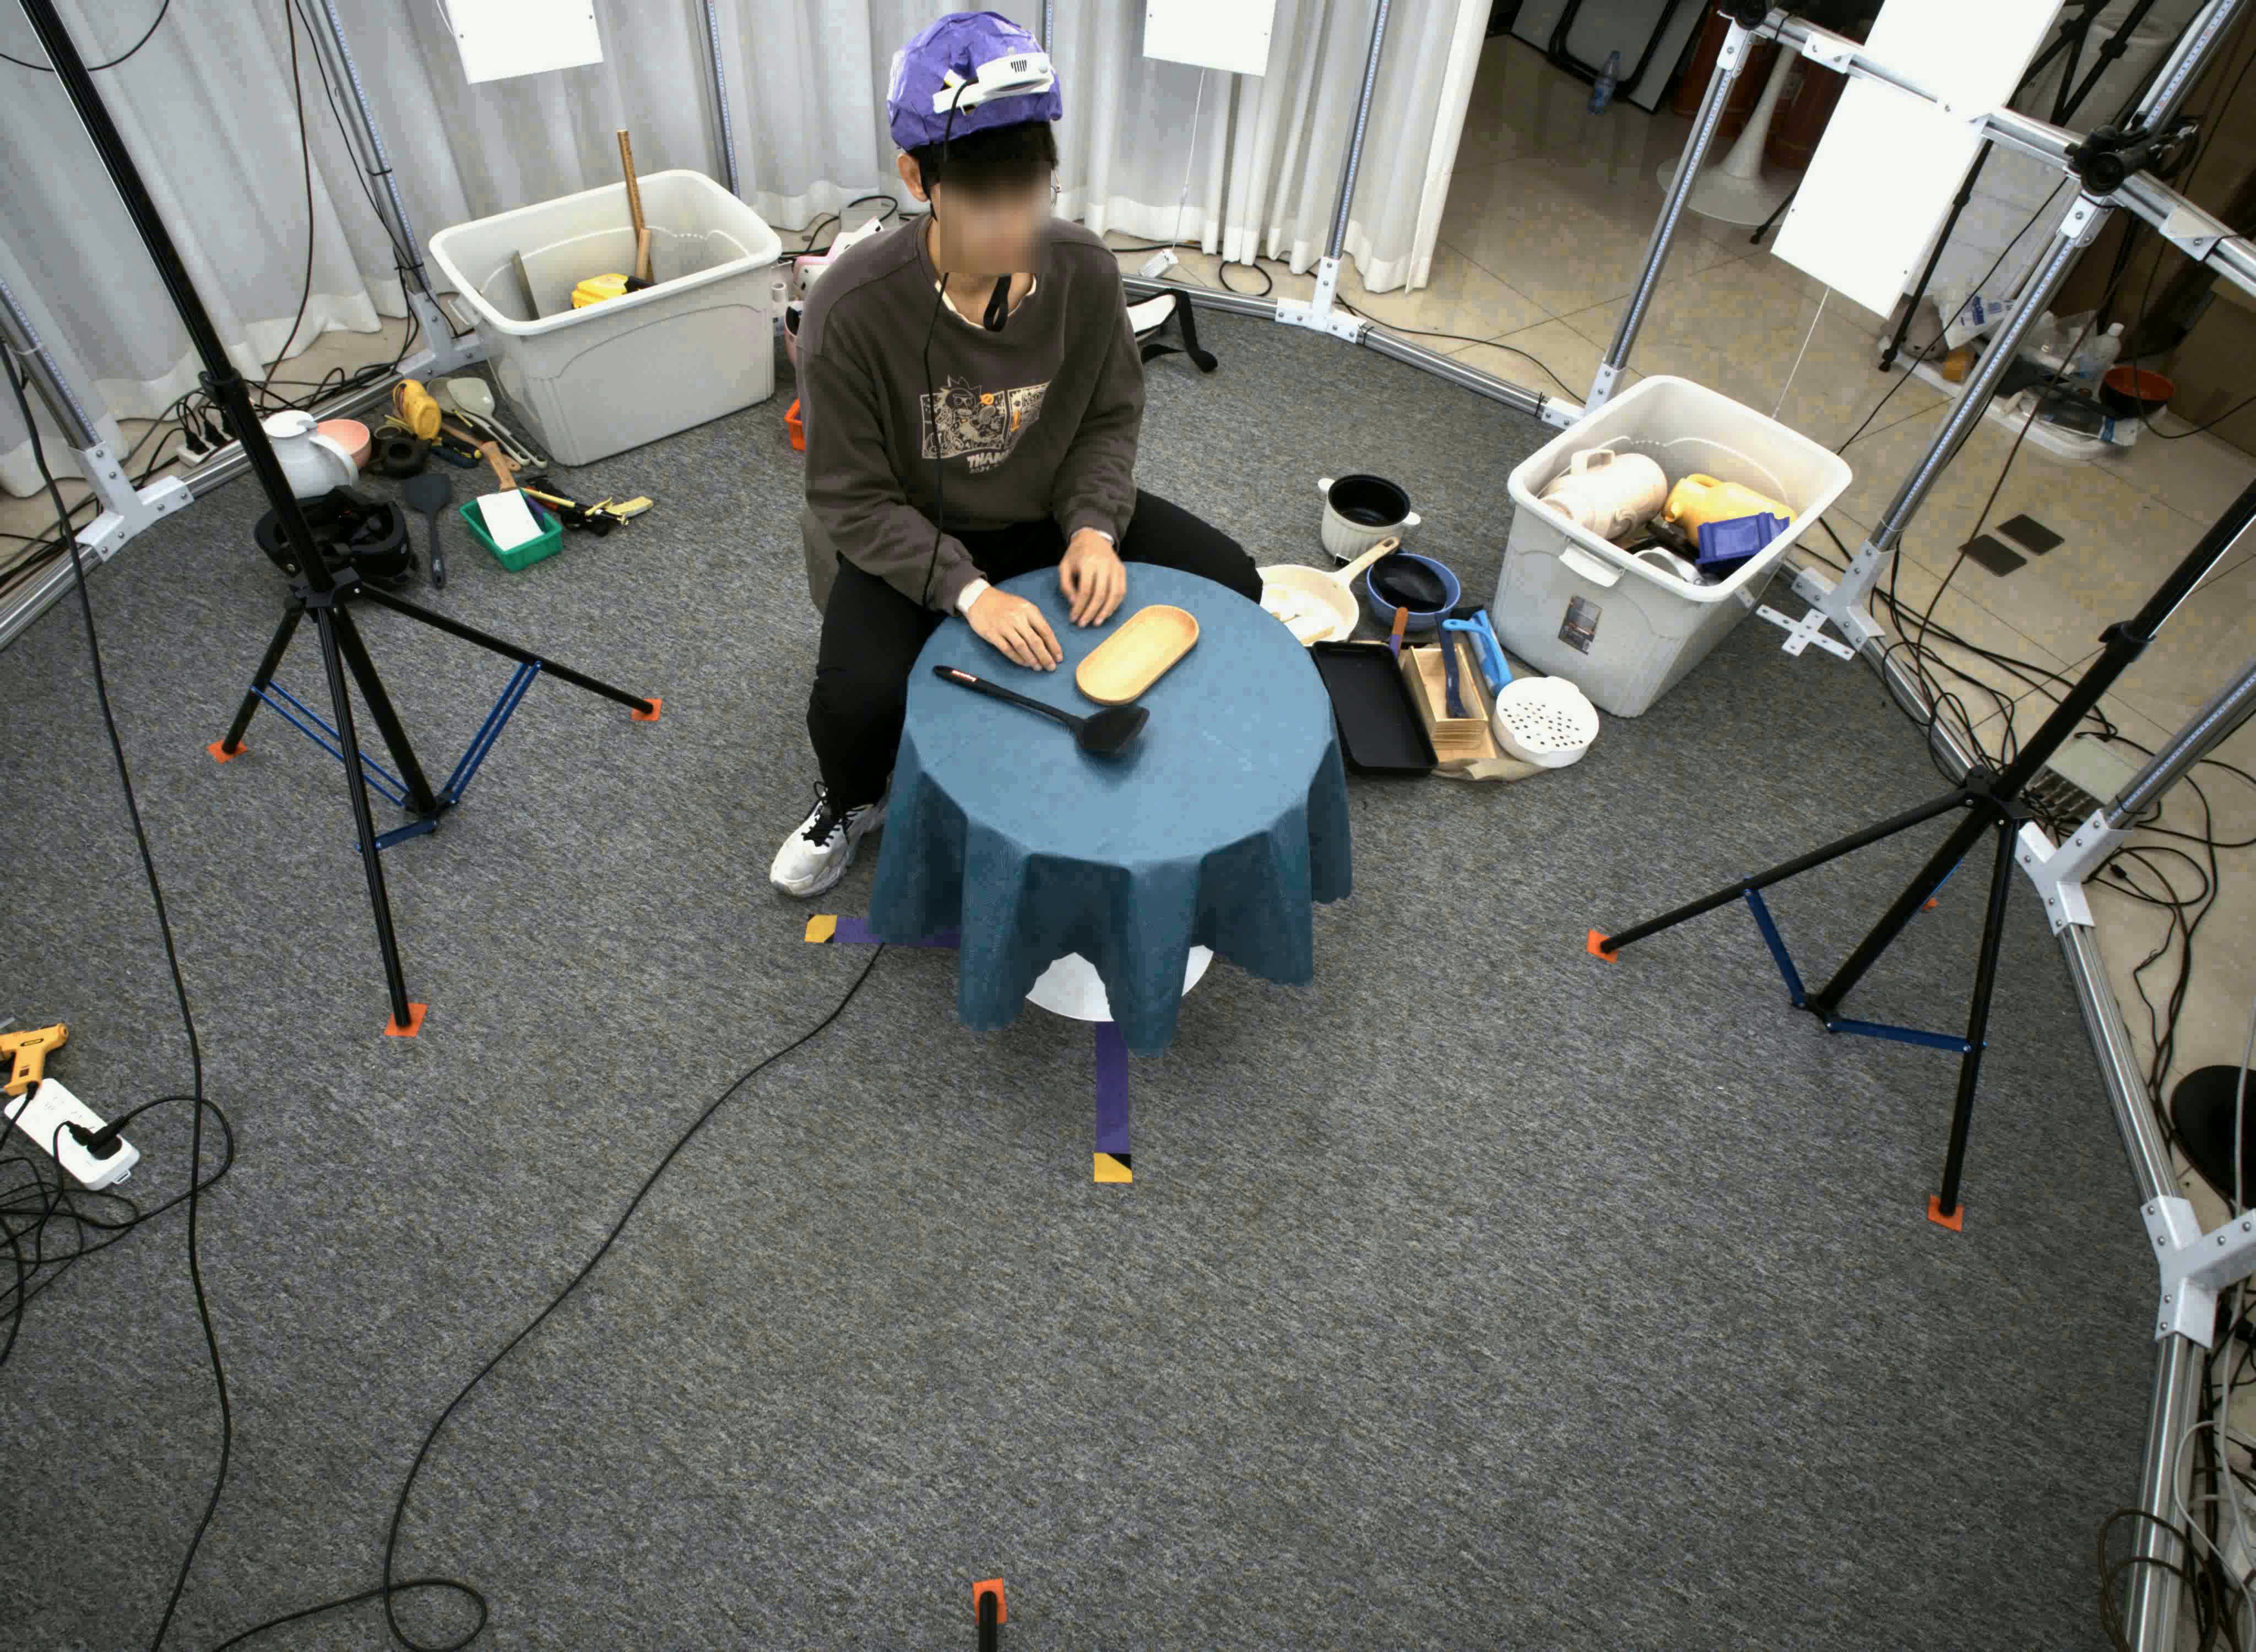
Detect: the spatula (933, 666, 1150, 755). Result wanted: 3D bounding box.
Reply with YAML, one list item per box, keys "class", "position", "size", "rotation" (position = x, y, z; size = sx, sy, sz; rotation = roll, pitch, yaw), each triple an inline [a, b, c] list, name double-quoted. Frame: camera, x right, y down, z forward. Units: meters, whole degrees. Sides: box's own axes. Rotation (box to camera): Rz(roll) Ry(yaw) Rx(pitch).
- class: "spatula"
  position: [-0.131, -0.174, 1.785]
  size: [0.328, 0.039, 0.101]
  rotation: [23, 50, 16]

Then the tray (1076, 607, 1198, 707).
- class: "tray"
  position: [0.015, -0.248, 1.872]
  size: [0.103, 0.020, 0.234]
  rotation: [30, 55, 22]
